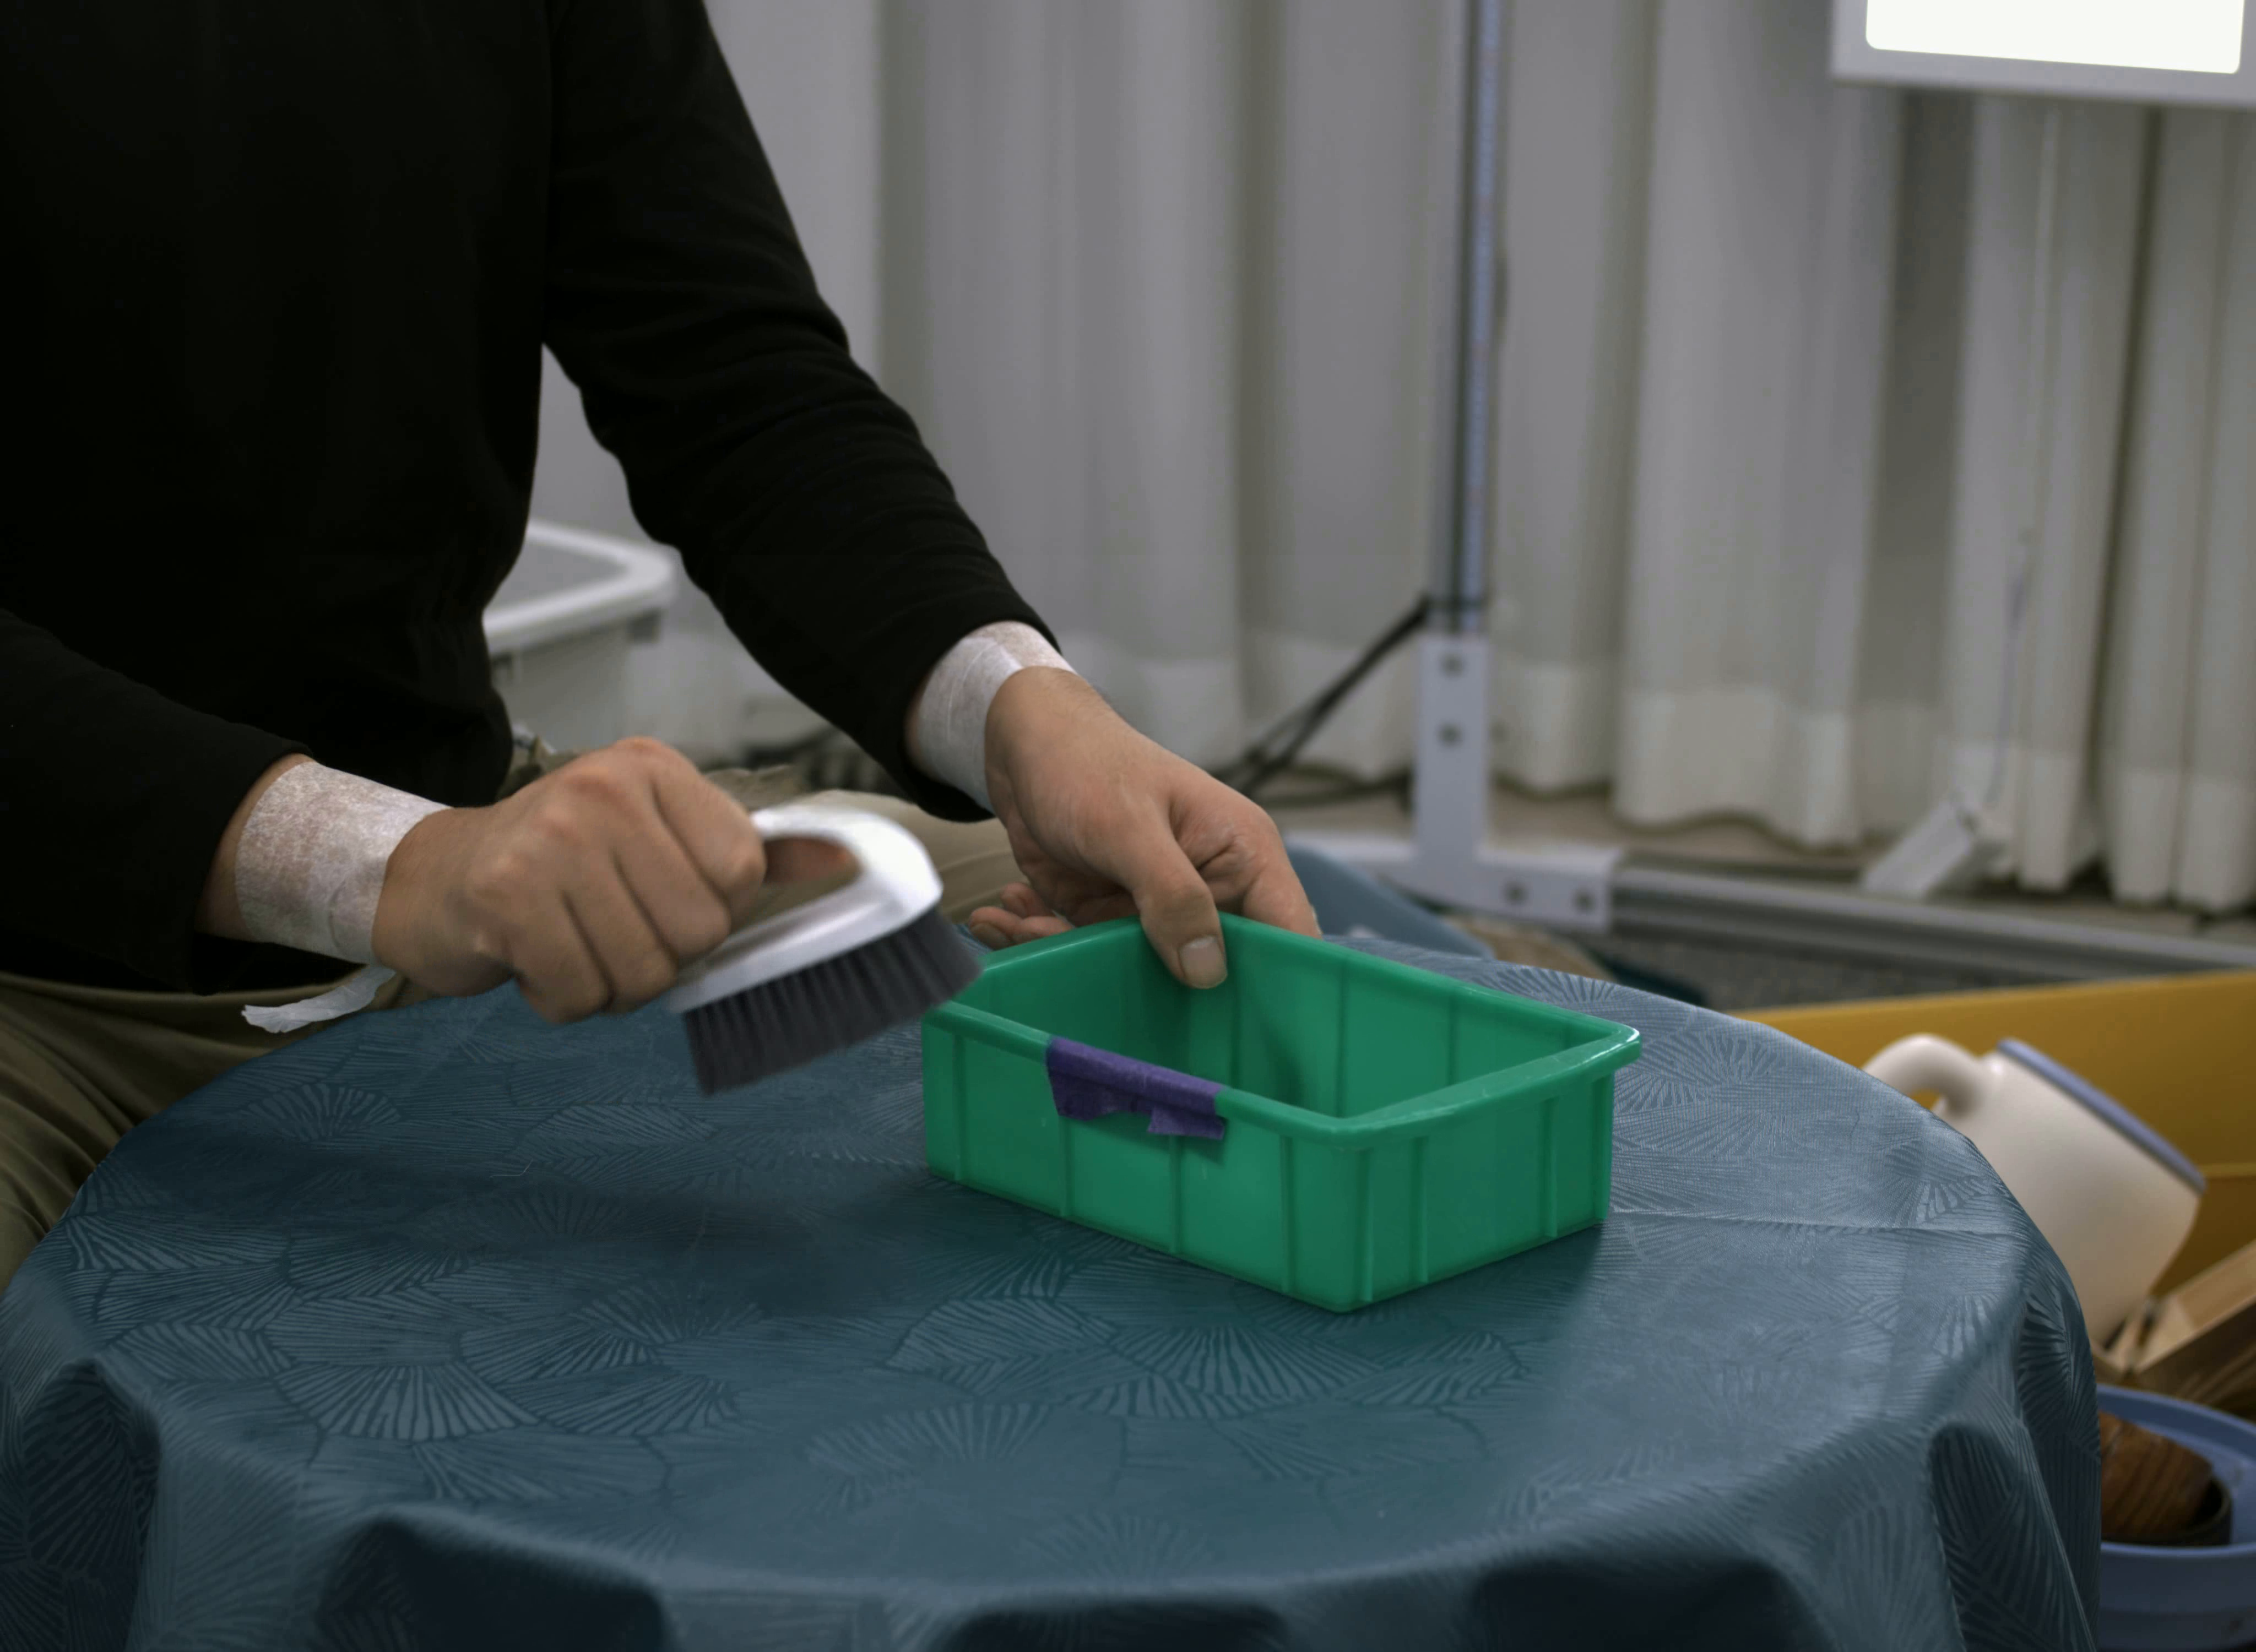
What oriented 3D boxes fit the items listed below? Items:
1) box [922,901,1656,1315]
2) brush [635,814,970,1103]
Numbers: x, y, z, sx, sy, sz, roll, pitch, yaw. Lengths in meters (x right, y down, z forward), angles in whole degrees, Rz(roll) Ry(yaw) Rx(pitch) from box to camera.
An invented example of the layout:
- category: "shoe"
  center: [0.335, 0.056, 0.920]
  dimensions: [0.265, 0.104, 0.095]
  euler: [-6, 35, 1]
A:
- category: "box"
  center: [0.045, 0.085, 1.606]
  dimensions: [0.207, 0.066, 0.139]
  euler: [16, 24, 41]
- category: "brush"
  center: [-0.103, 0.034, 1.552]
  dimensions: [0.098, 0.073, 0.050]
  euler: [-18, 13, 34]
